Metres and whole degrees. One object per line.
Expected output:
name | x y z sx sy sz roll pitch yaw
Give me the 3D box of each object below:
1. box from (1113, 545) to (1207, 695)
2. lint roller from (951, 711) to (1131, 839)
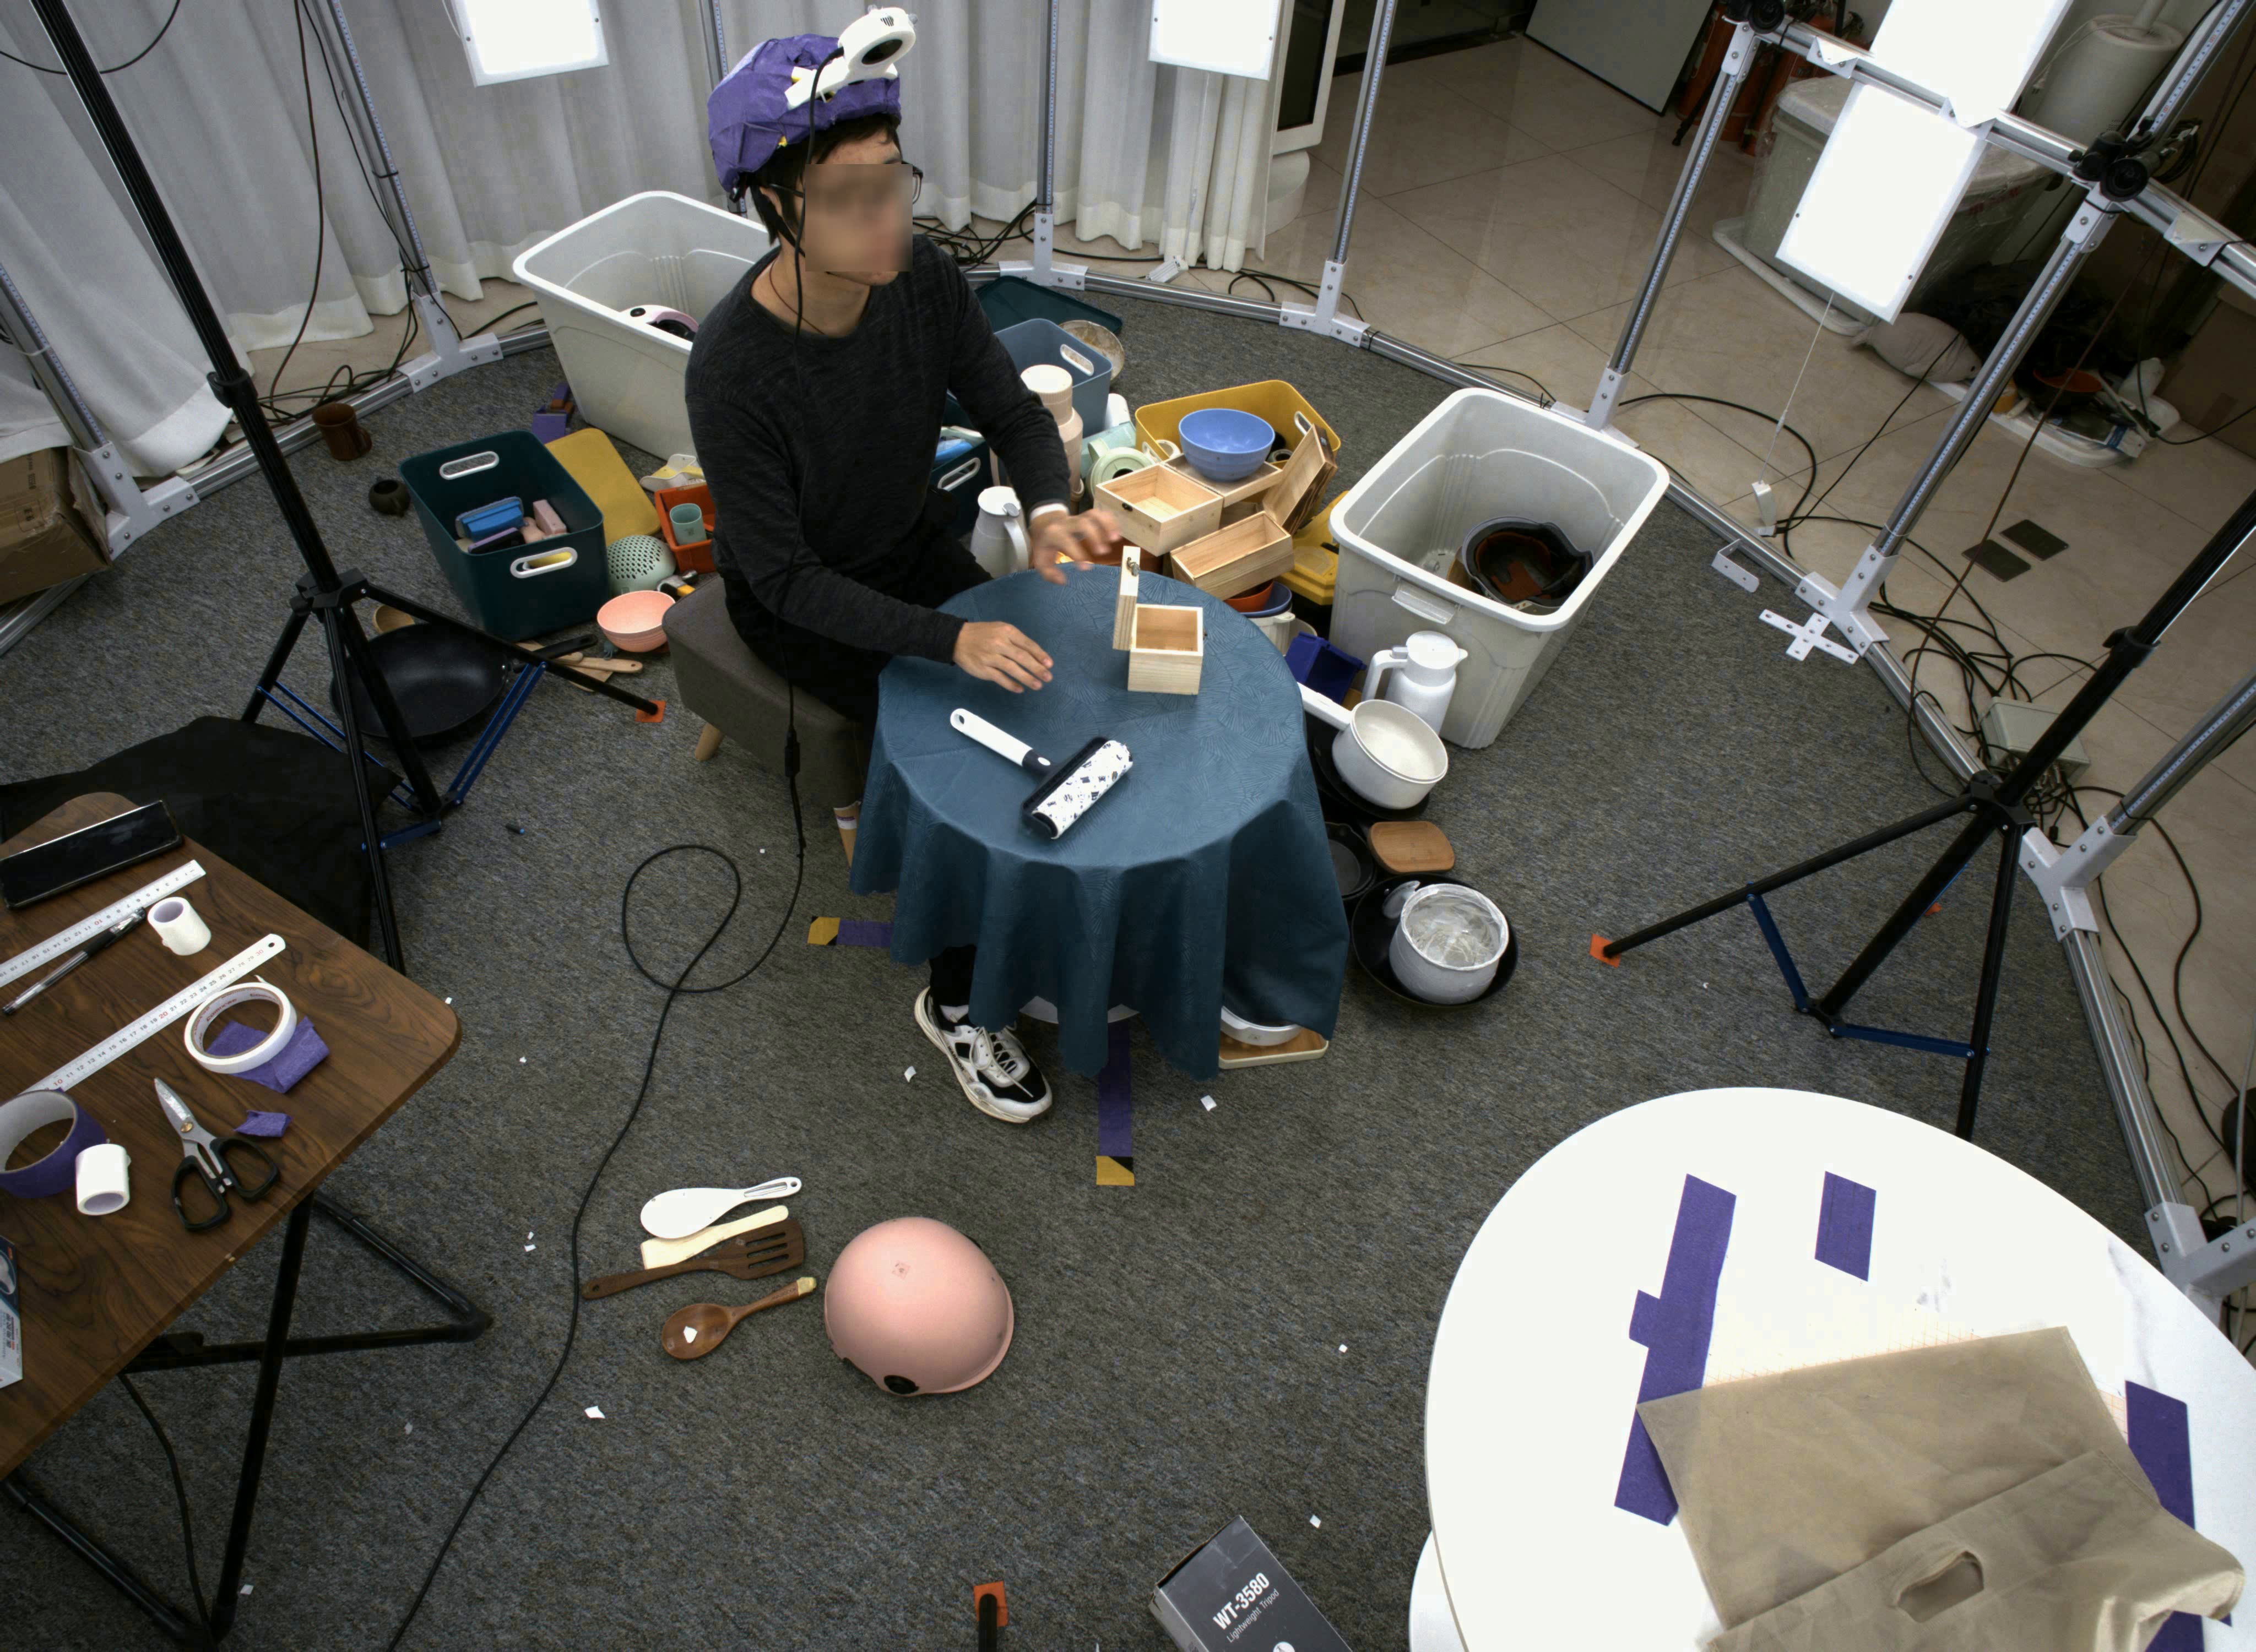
box | 0.047 -0.288 1.805 0.134 0.180 0.105 3 48 -1
lint roller | -0.142 -0.096 1.716 0.250 0.049 0.178 30 55 22
